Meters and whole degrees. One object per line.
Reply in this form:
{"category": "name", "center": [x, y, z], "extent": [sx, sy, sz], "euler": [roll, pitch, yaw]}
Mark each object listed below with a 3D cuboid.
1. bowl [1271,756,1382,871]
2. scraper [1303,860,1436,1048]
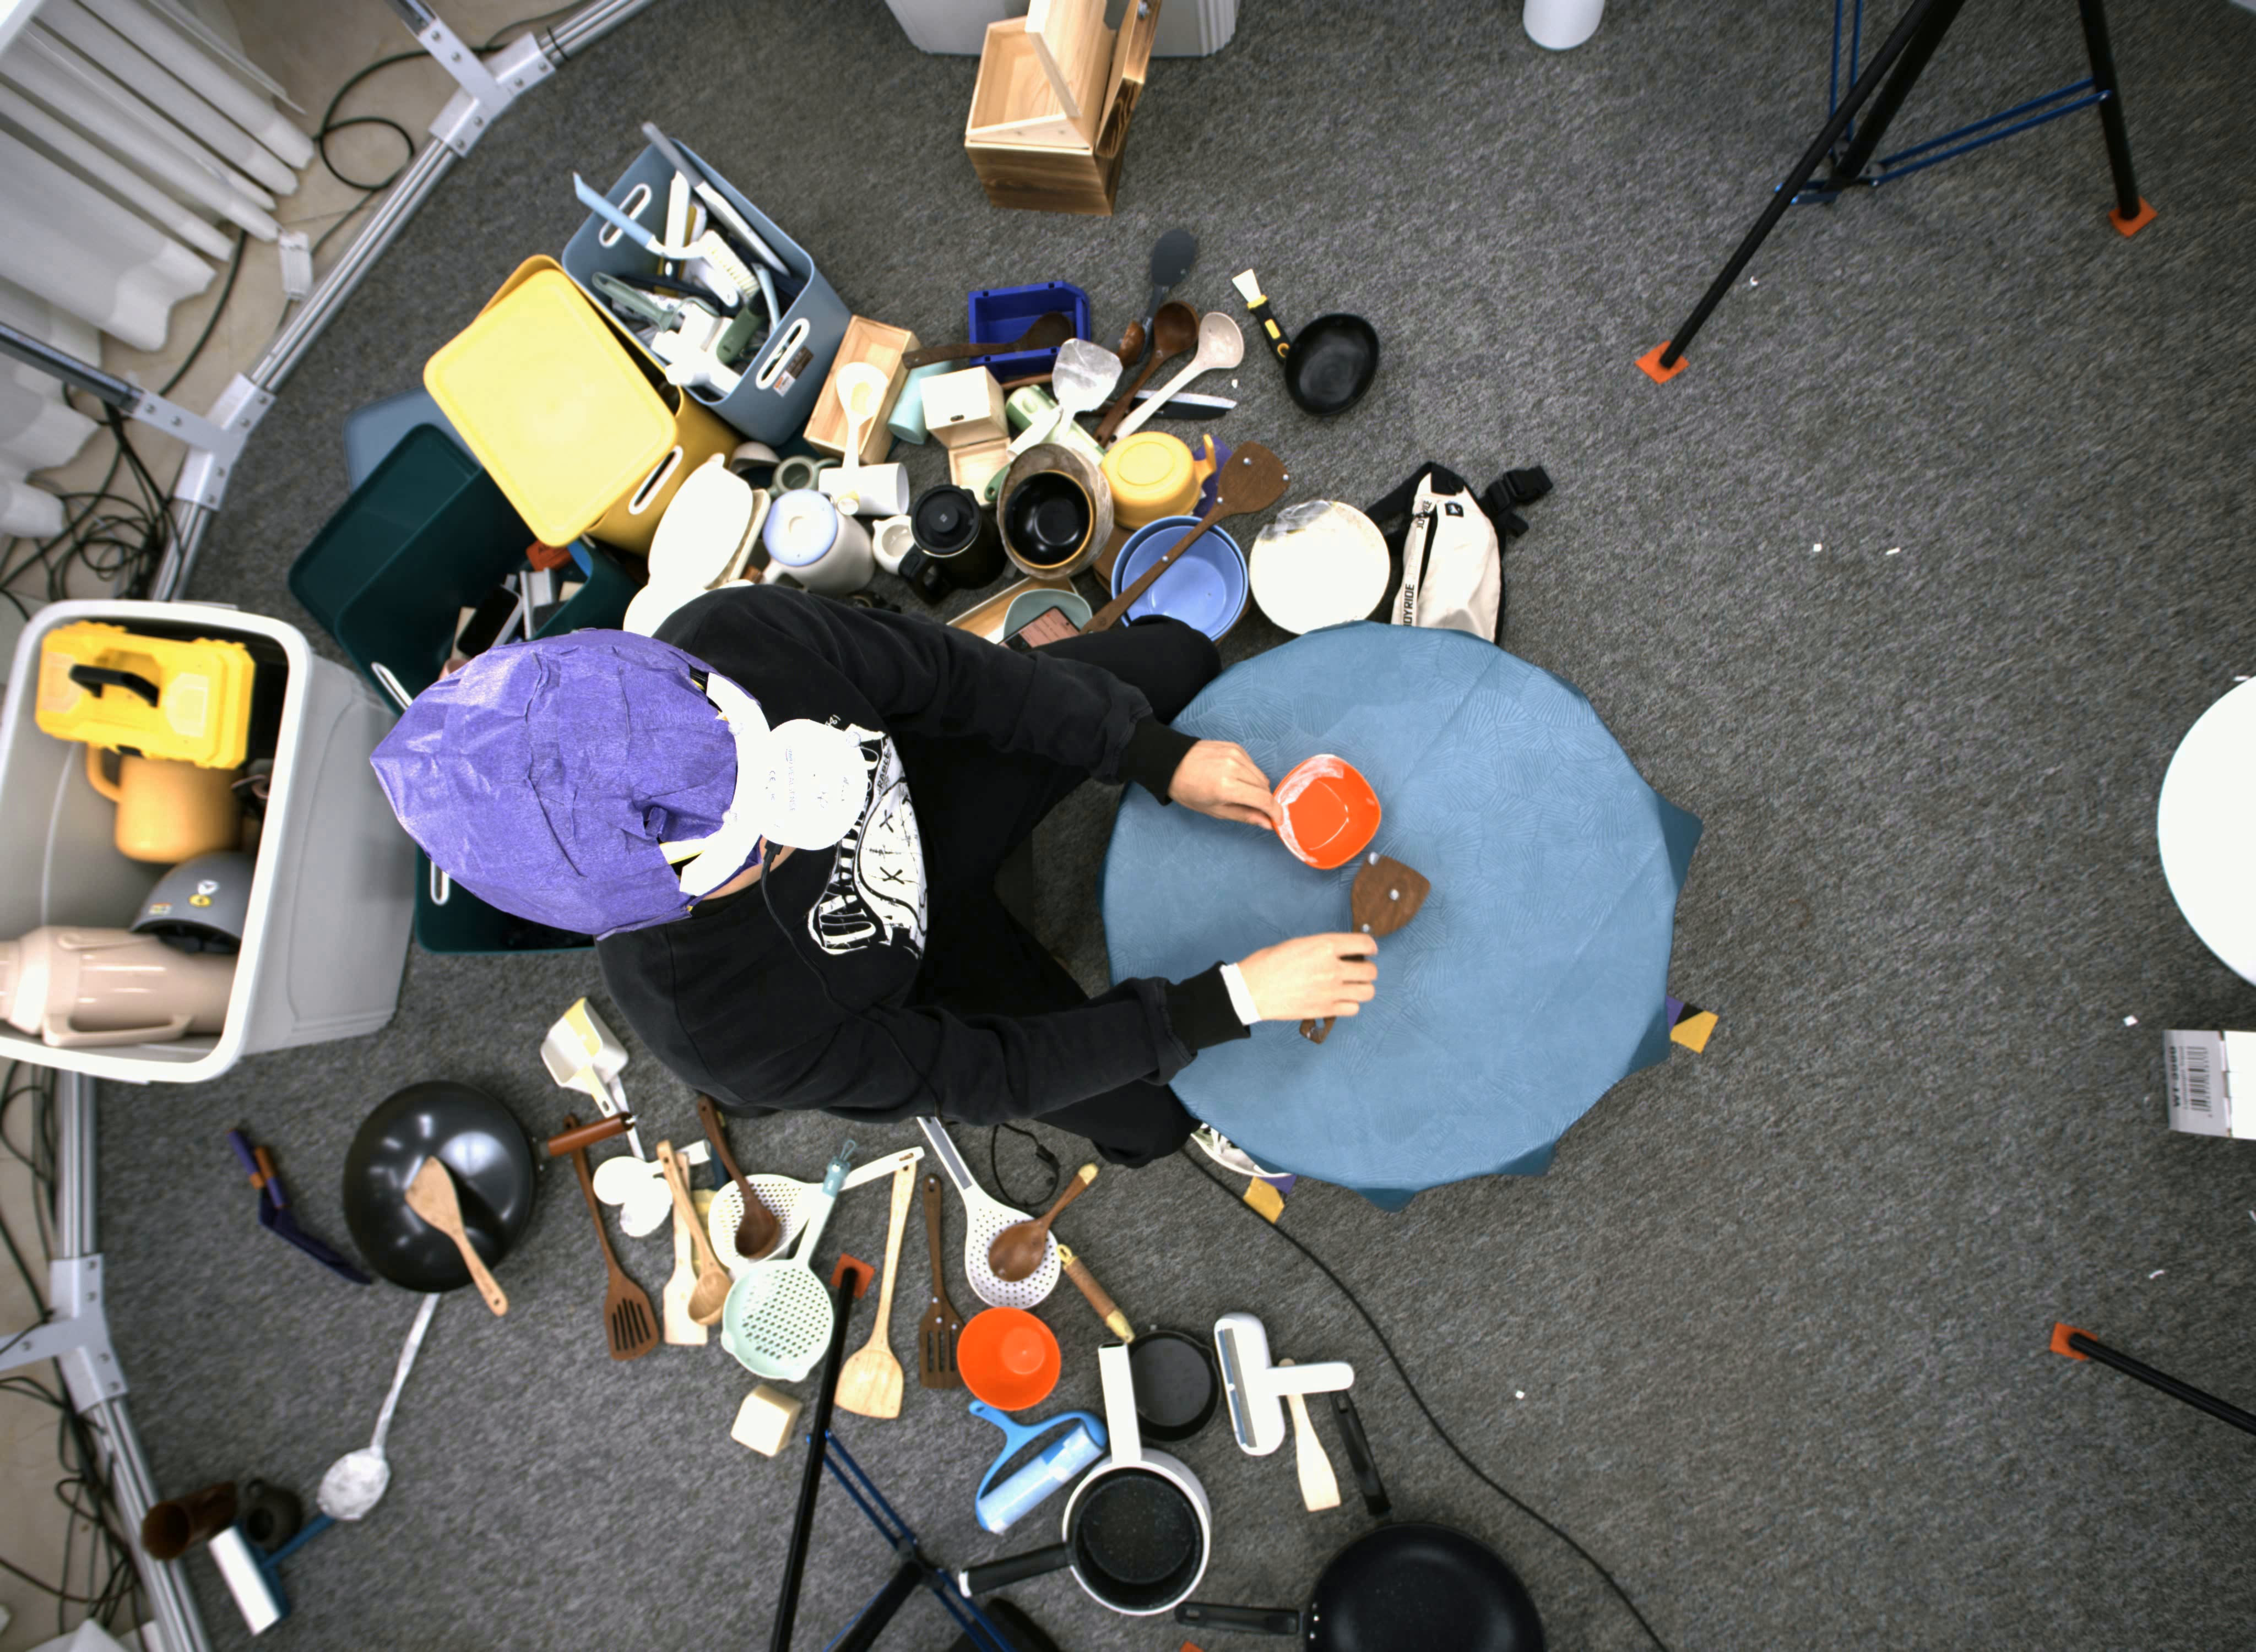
{"category": "bowl", "center": [0.202, -0.012, 1.447], "extent": [0.119, 0.051, 0.118], "euler": [0, 88, -9]}
{"category": "scraper", "center": [0.233, 0.128, 1.379], "extent": [0.076, 0.011, 0.208], "euler": [29, 71, 11]}
